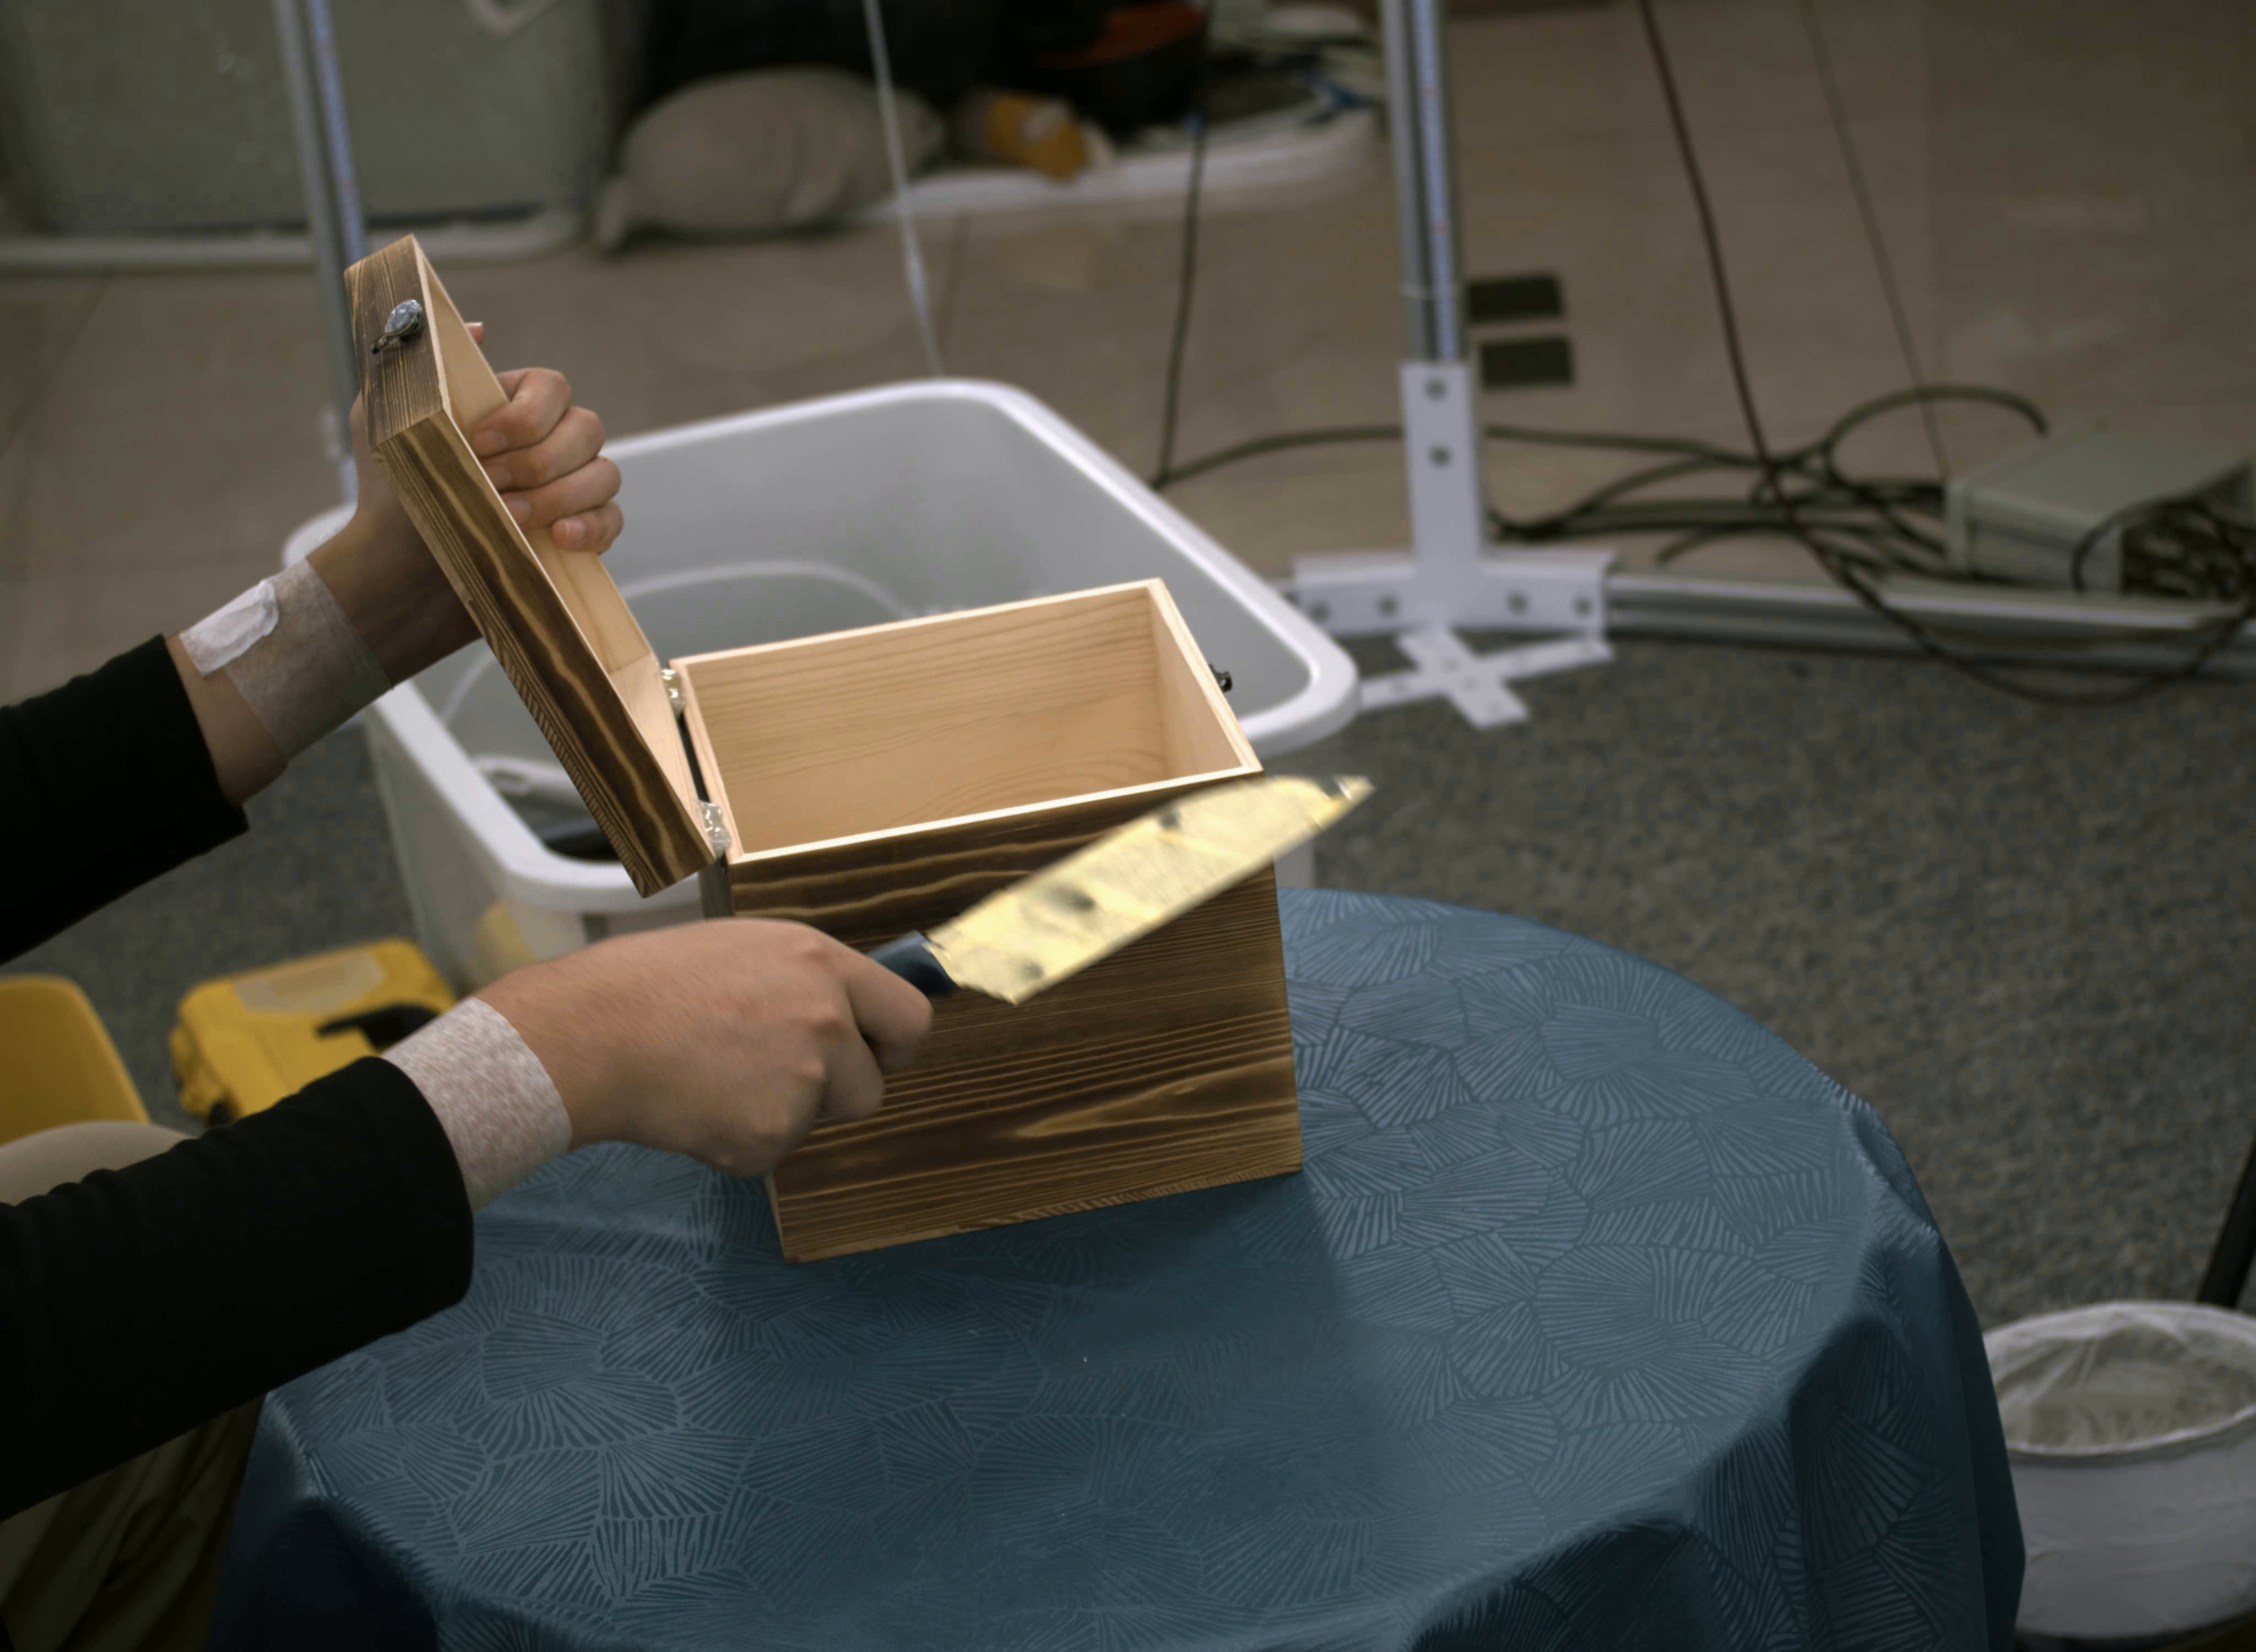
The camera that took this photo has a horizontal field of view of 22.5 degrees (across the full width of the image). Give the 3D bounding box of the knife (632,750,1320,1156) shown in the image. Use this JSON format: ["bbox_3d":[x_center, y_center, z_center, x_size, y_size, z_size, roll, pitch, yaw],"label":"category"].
[{"bbox_3d":[-0.046,0.040,1.961,0.287,0.027,0.080,-30,24,-24],"label":"knife"}]

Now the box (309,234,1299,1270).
[{"bbox_3d":[-0.117,-0.043,2.135,0.321,0.381,0.206,-11,27,-7],"label":"box"}]
